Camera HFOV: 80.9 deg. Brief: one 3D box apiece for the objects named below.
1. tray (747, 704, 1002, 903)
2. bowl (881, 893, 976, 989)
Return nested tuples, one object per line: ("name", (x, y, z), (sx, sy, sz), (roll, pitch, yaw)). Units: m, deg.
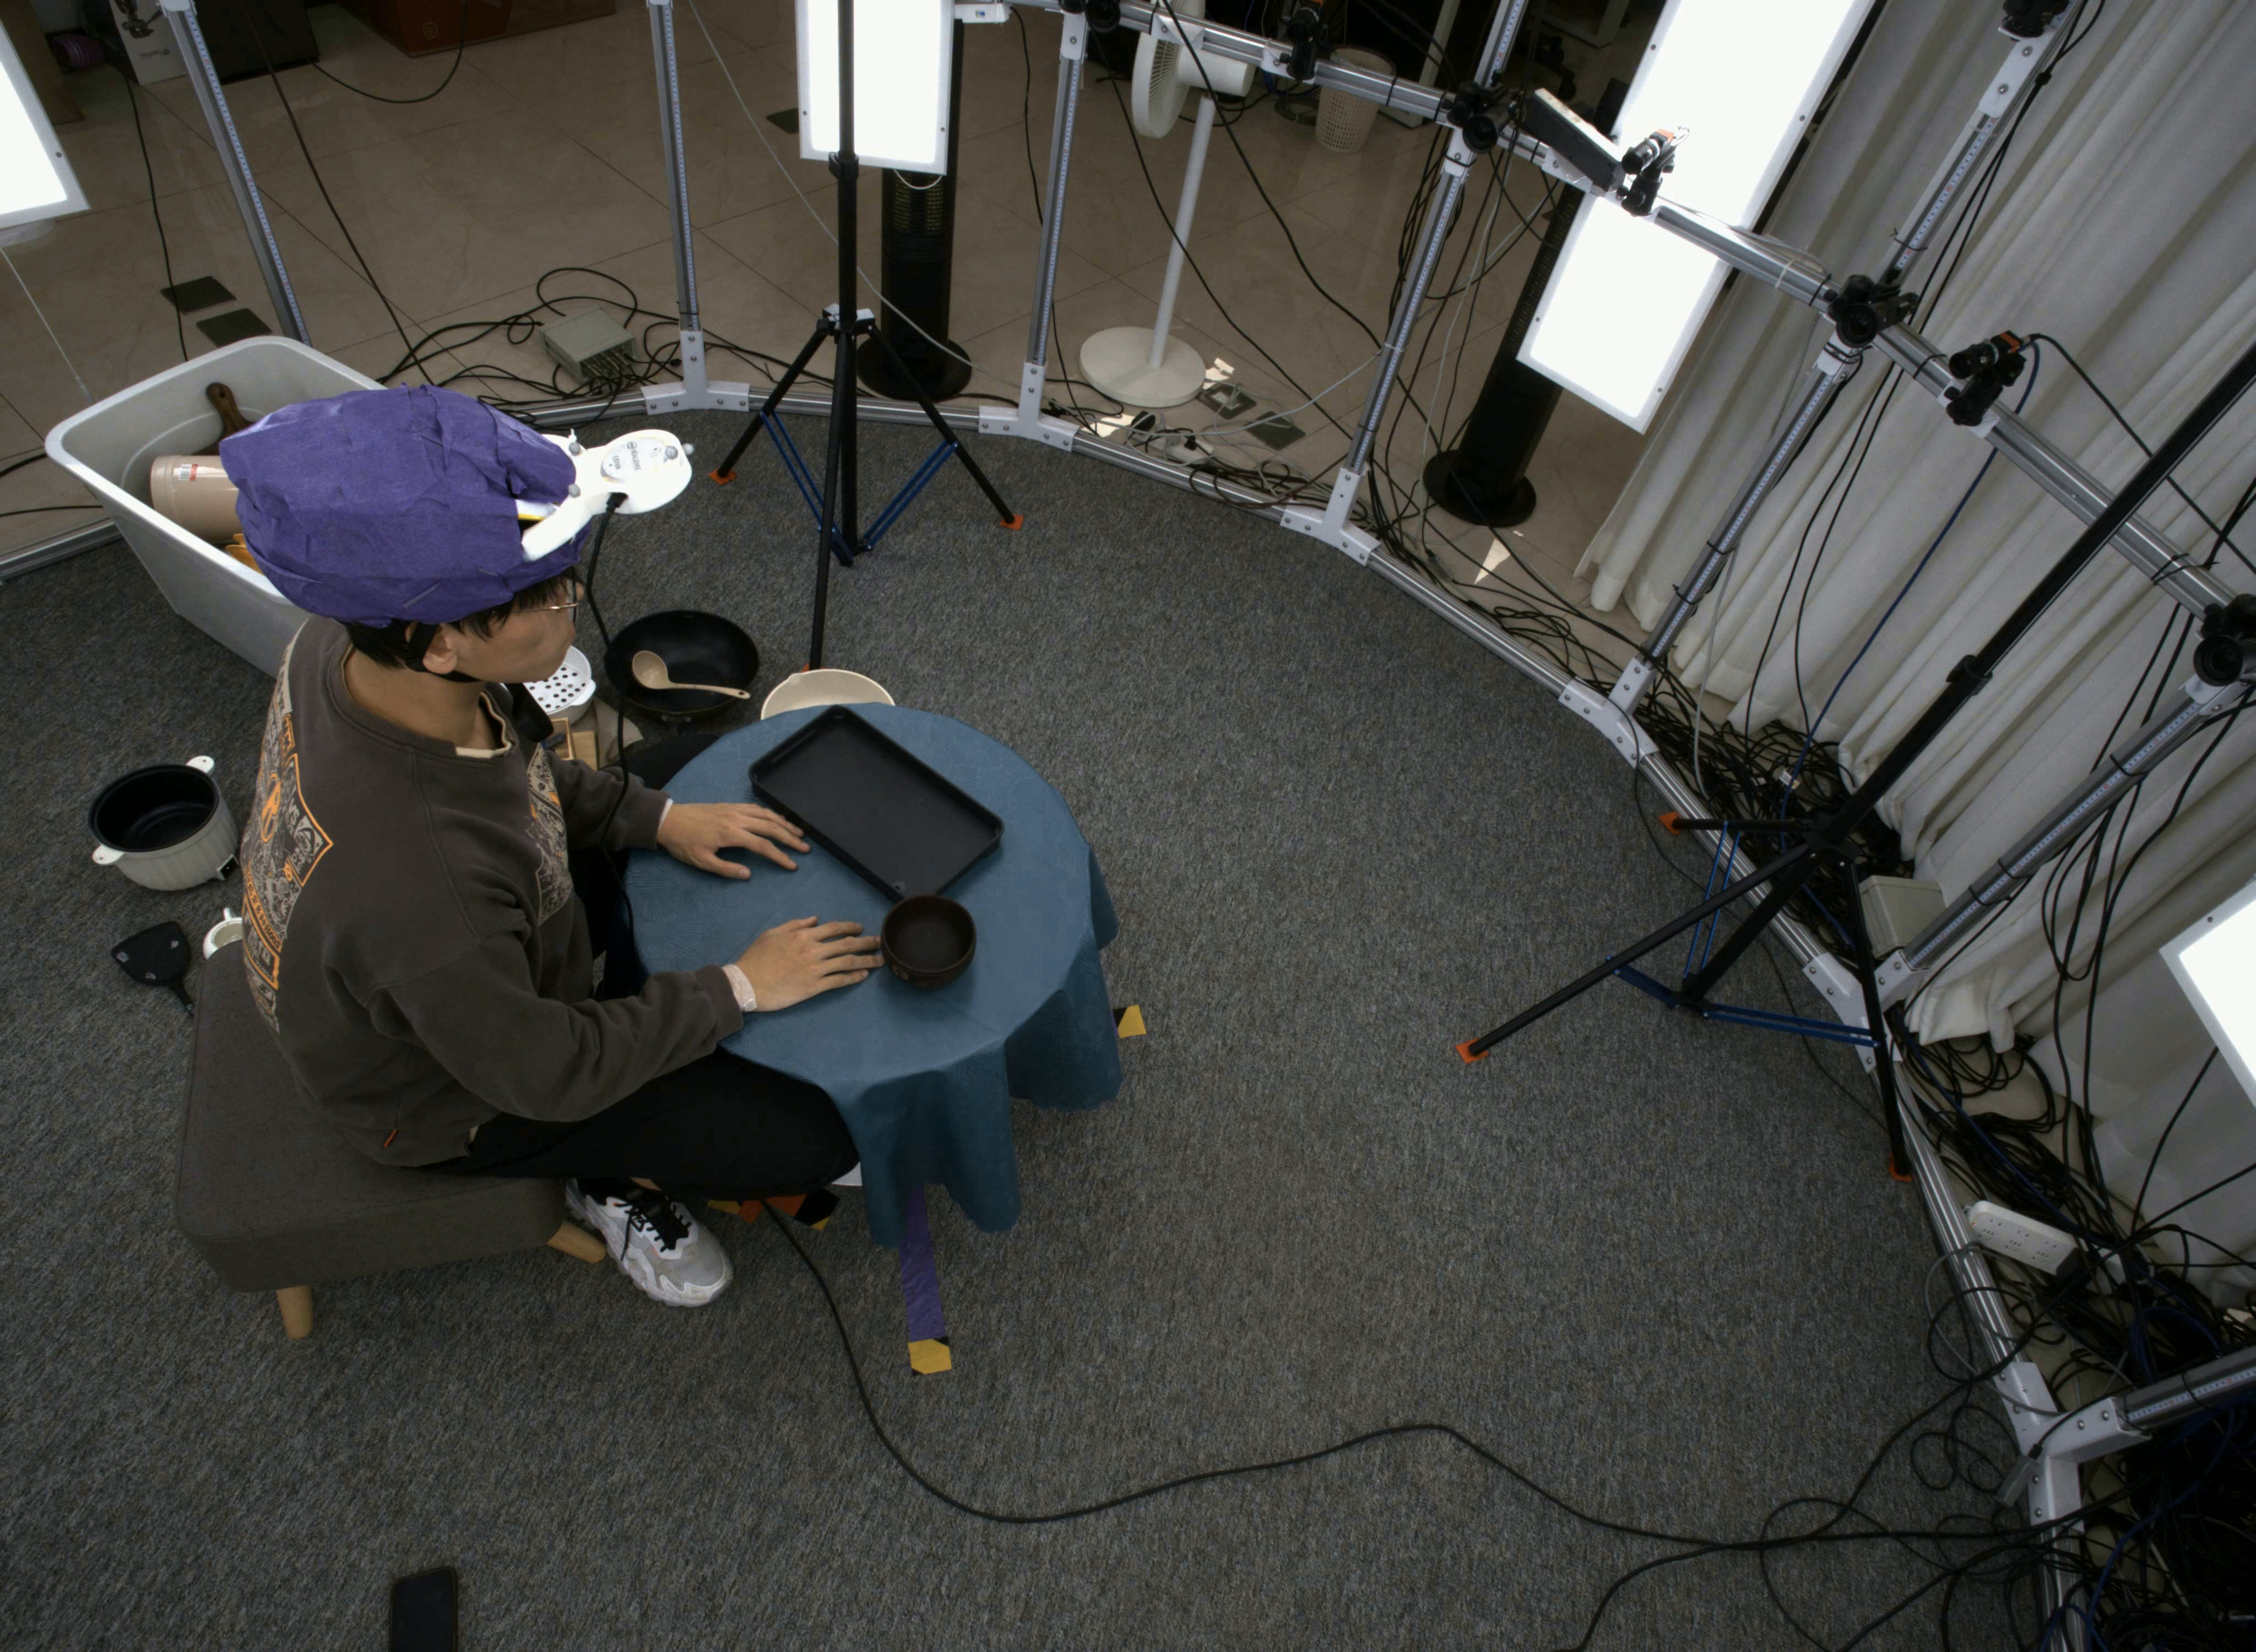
("tray", (-0.342, -0.029, 1.757), (0.312, 0.038, 0.184), (34, 55, 11))
("bowl", (-0.248, 0.149, 1.625), (0.117, 0.071, 0.116), (6, 53, -6))
